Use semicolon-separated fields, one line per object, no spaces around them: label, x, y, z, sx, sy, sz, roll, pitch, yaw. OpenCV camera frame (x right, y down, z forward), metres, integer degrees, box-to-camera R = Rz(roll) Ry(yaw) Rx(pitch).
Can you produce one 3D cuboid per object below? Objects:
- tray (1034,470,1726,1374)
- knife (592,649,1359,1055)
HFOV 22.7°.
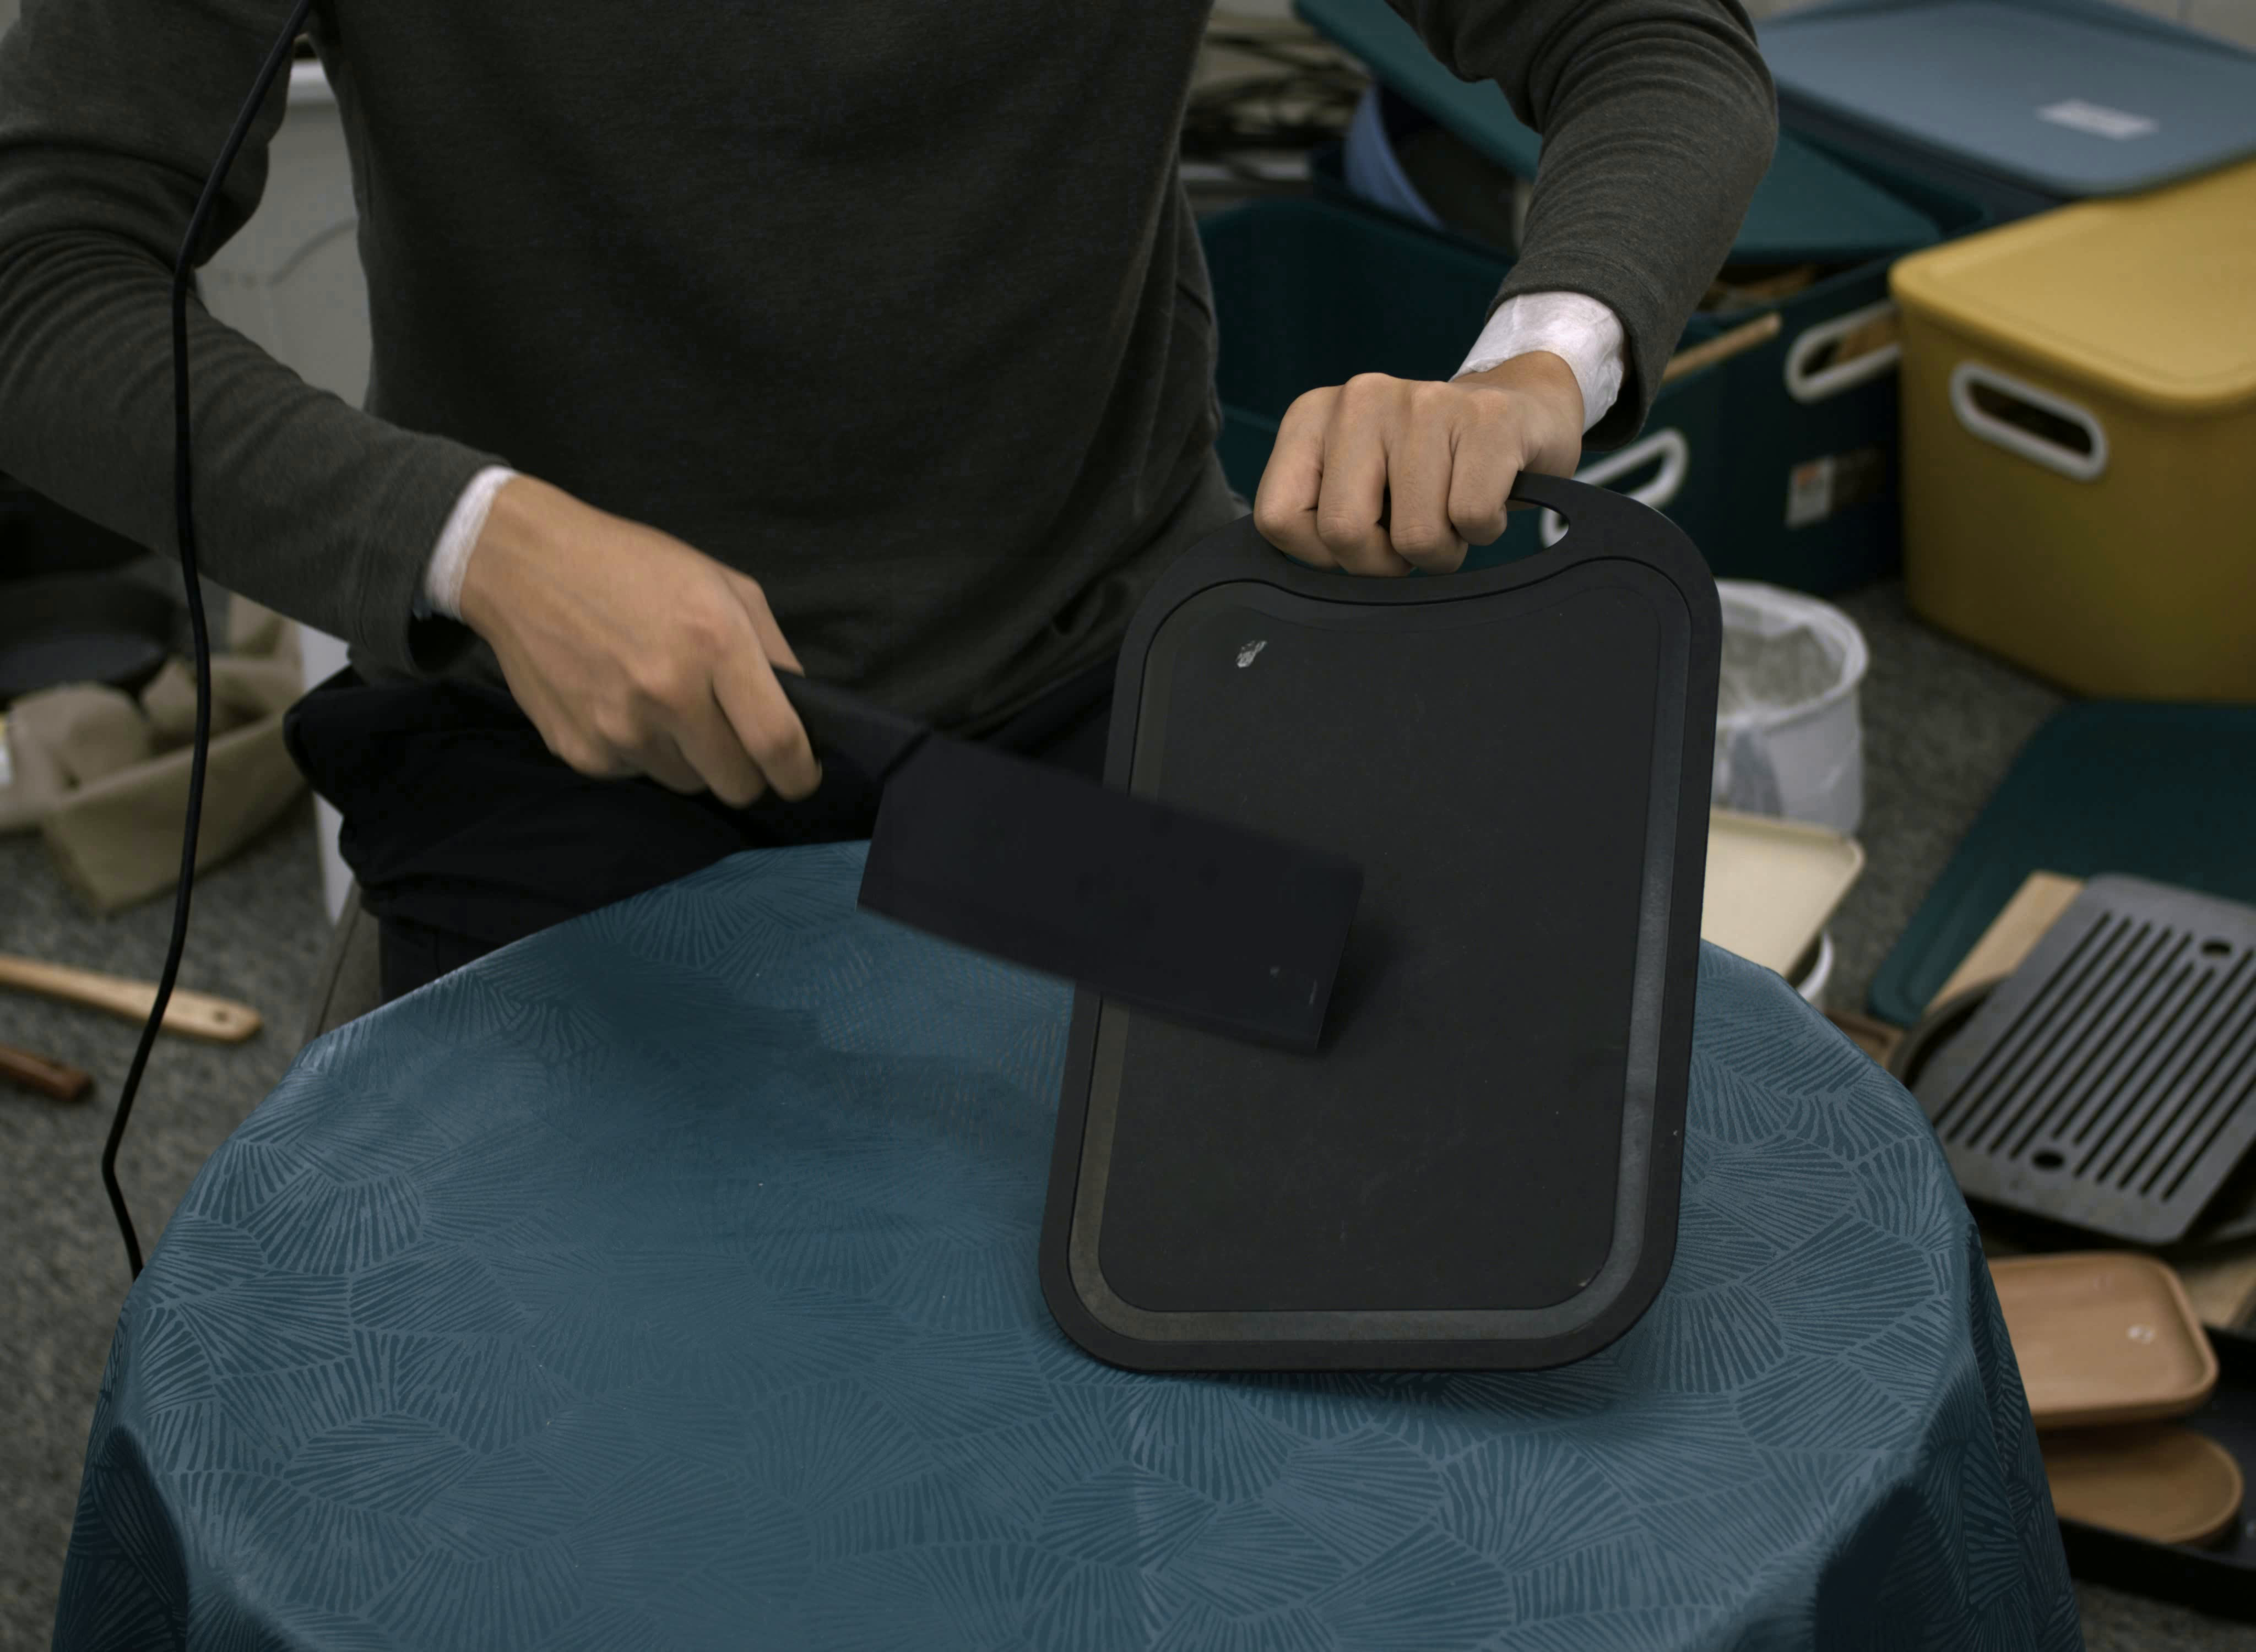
tray;0.083;0.025;1.820;0.209;0.009;0.331;-2;60;19
knife;-0.057;0.004;1.865;0.301;0.081;0.021;23;4;29
